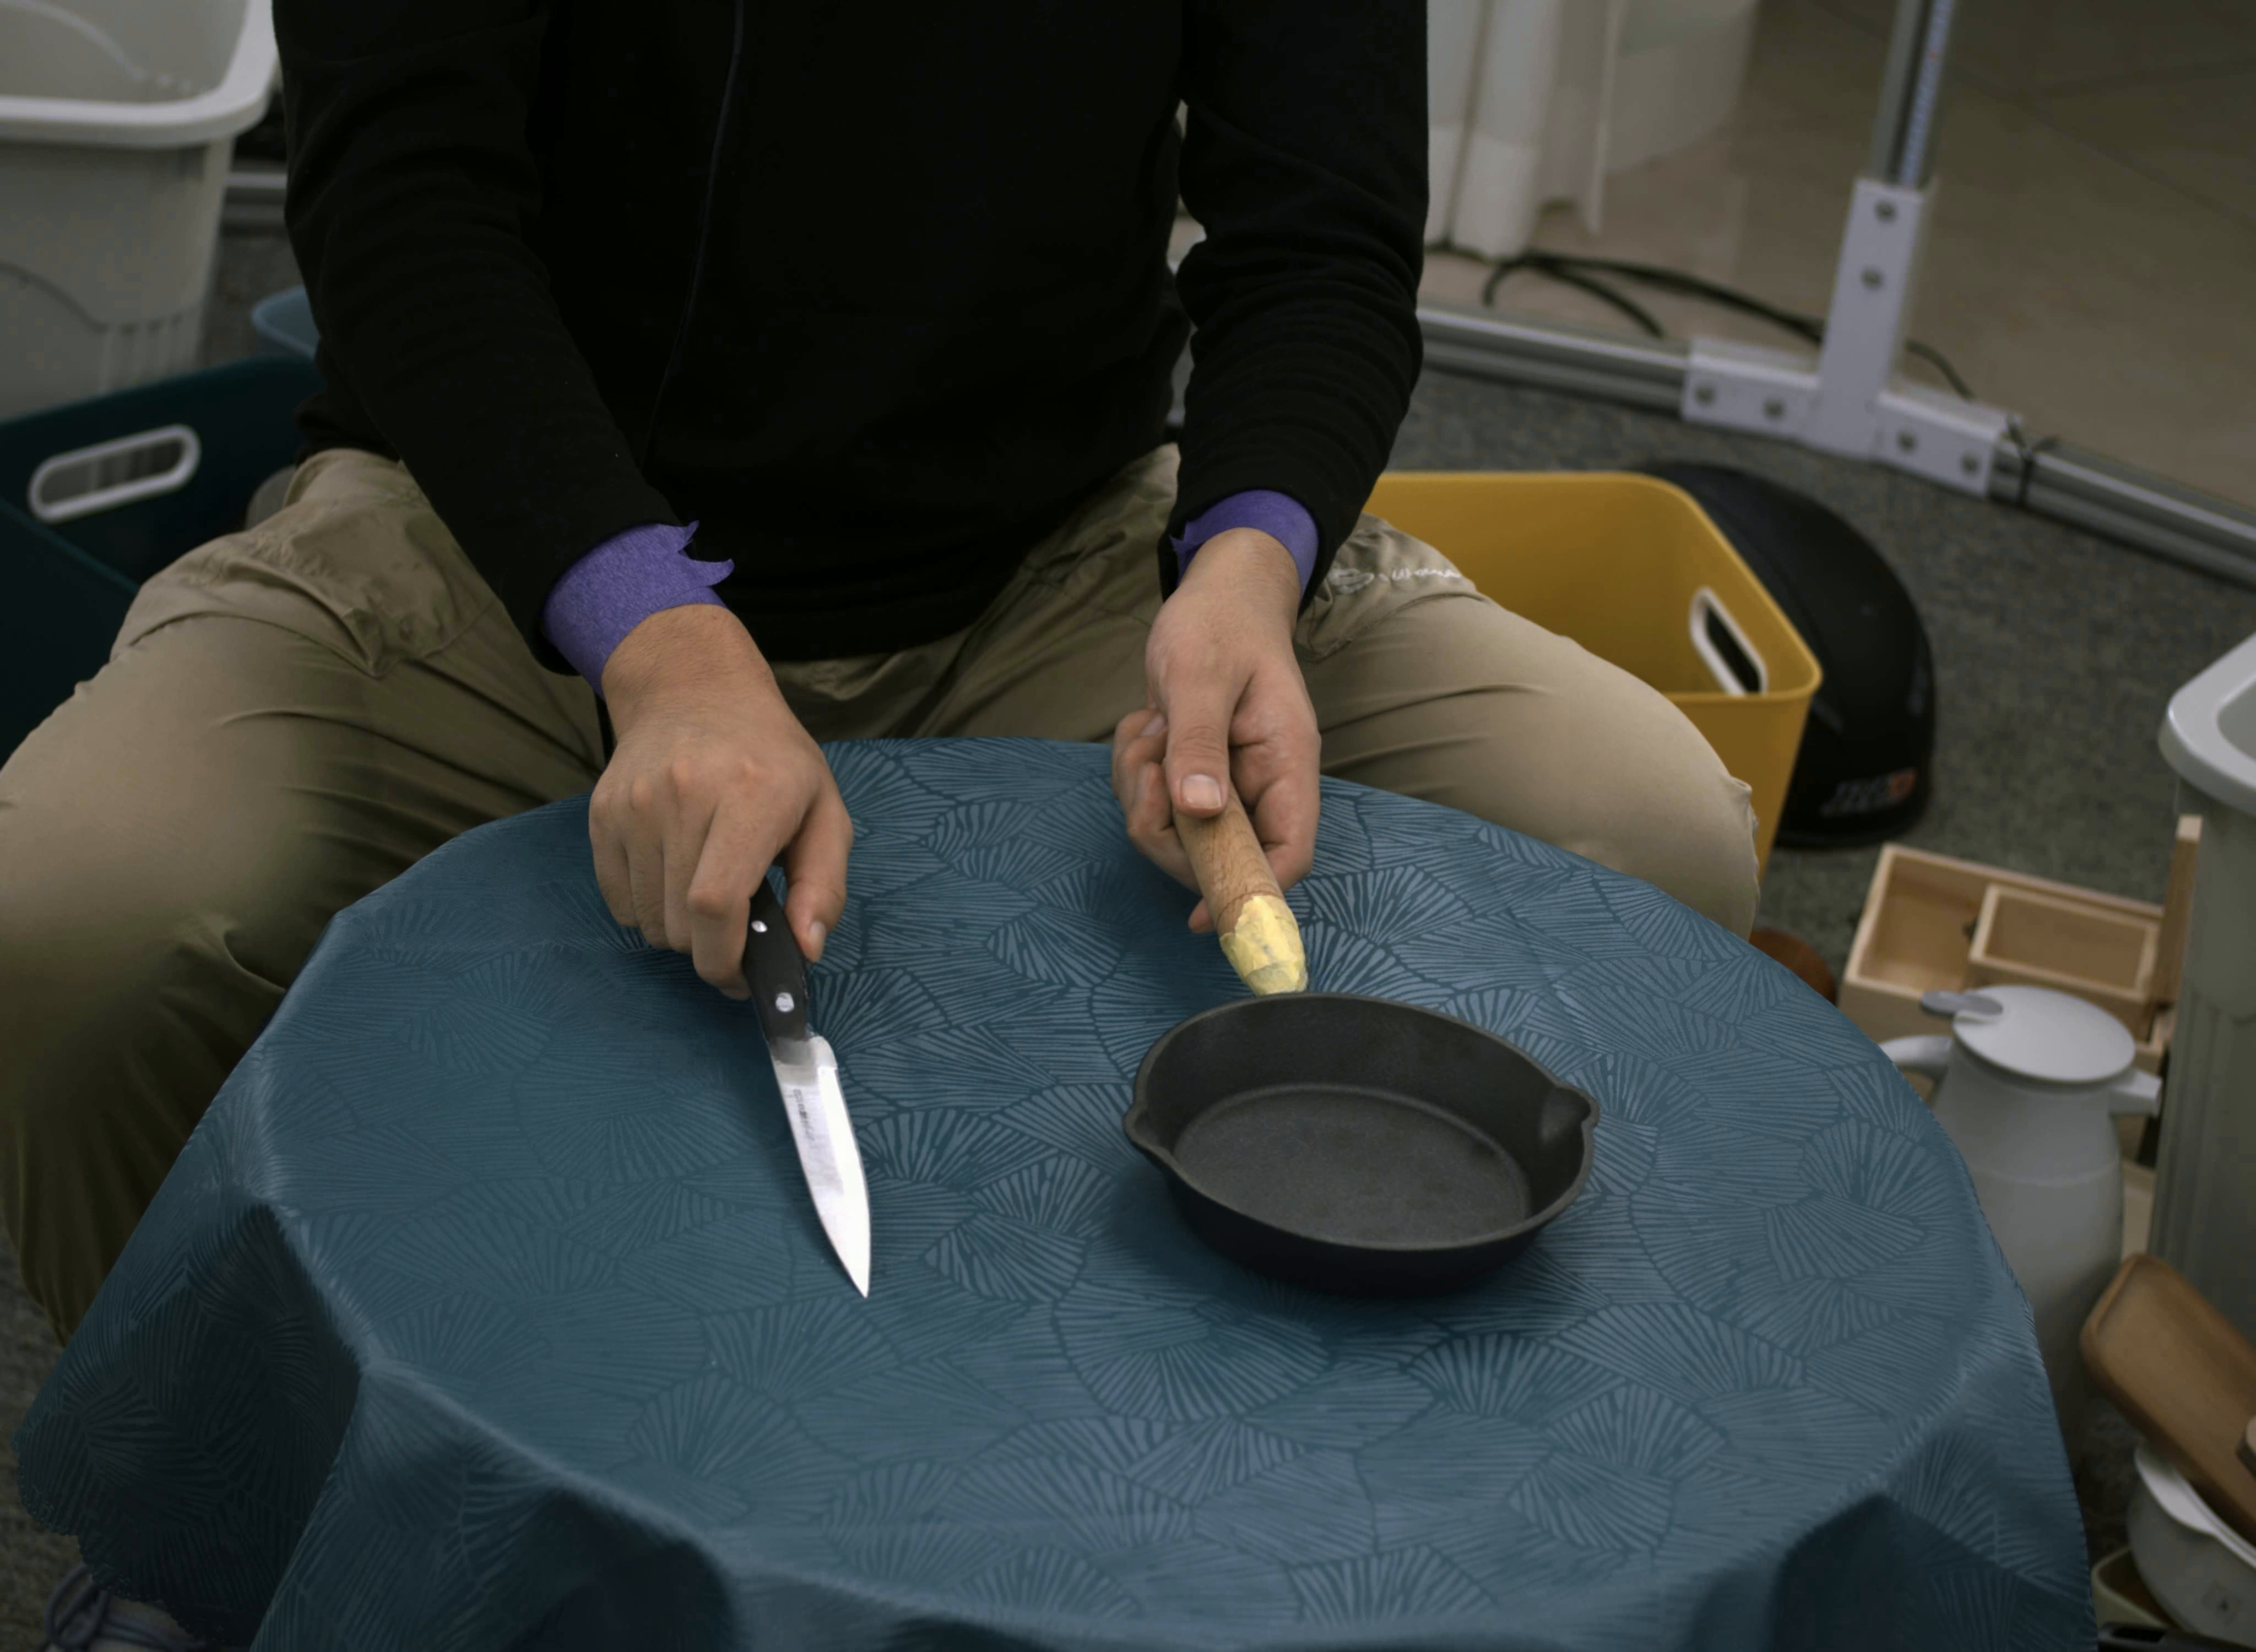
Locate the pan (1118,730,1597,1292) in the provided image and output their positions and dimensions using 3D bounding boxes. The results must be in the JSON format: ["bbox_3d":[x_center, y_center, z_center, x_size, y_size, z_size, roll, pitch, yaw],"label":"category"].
[{"bbox_3d":[0.058,0.062,1.872,0.168,0.049,0.327,-1,30,-15],"label":"pan"}]

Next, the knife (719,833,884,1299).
[{"bbox_3d":[-0.112,0.080,1.818,0.024,0.016,0.240,-2,39,-16],"label":"knife"}]
